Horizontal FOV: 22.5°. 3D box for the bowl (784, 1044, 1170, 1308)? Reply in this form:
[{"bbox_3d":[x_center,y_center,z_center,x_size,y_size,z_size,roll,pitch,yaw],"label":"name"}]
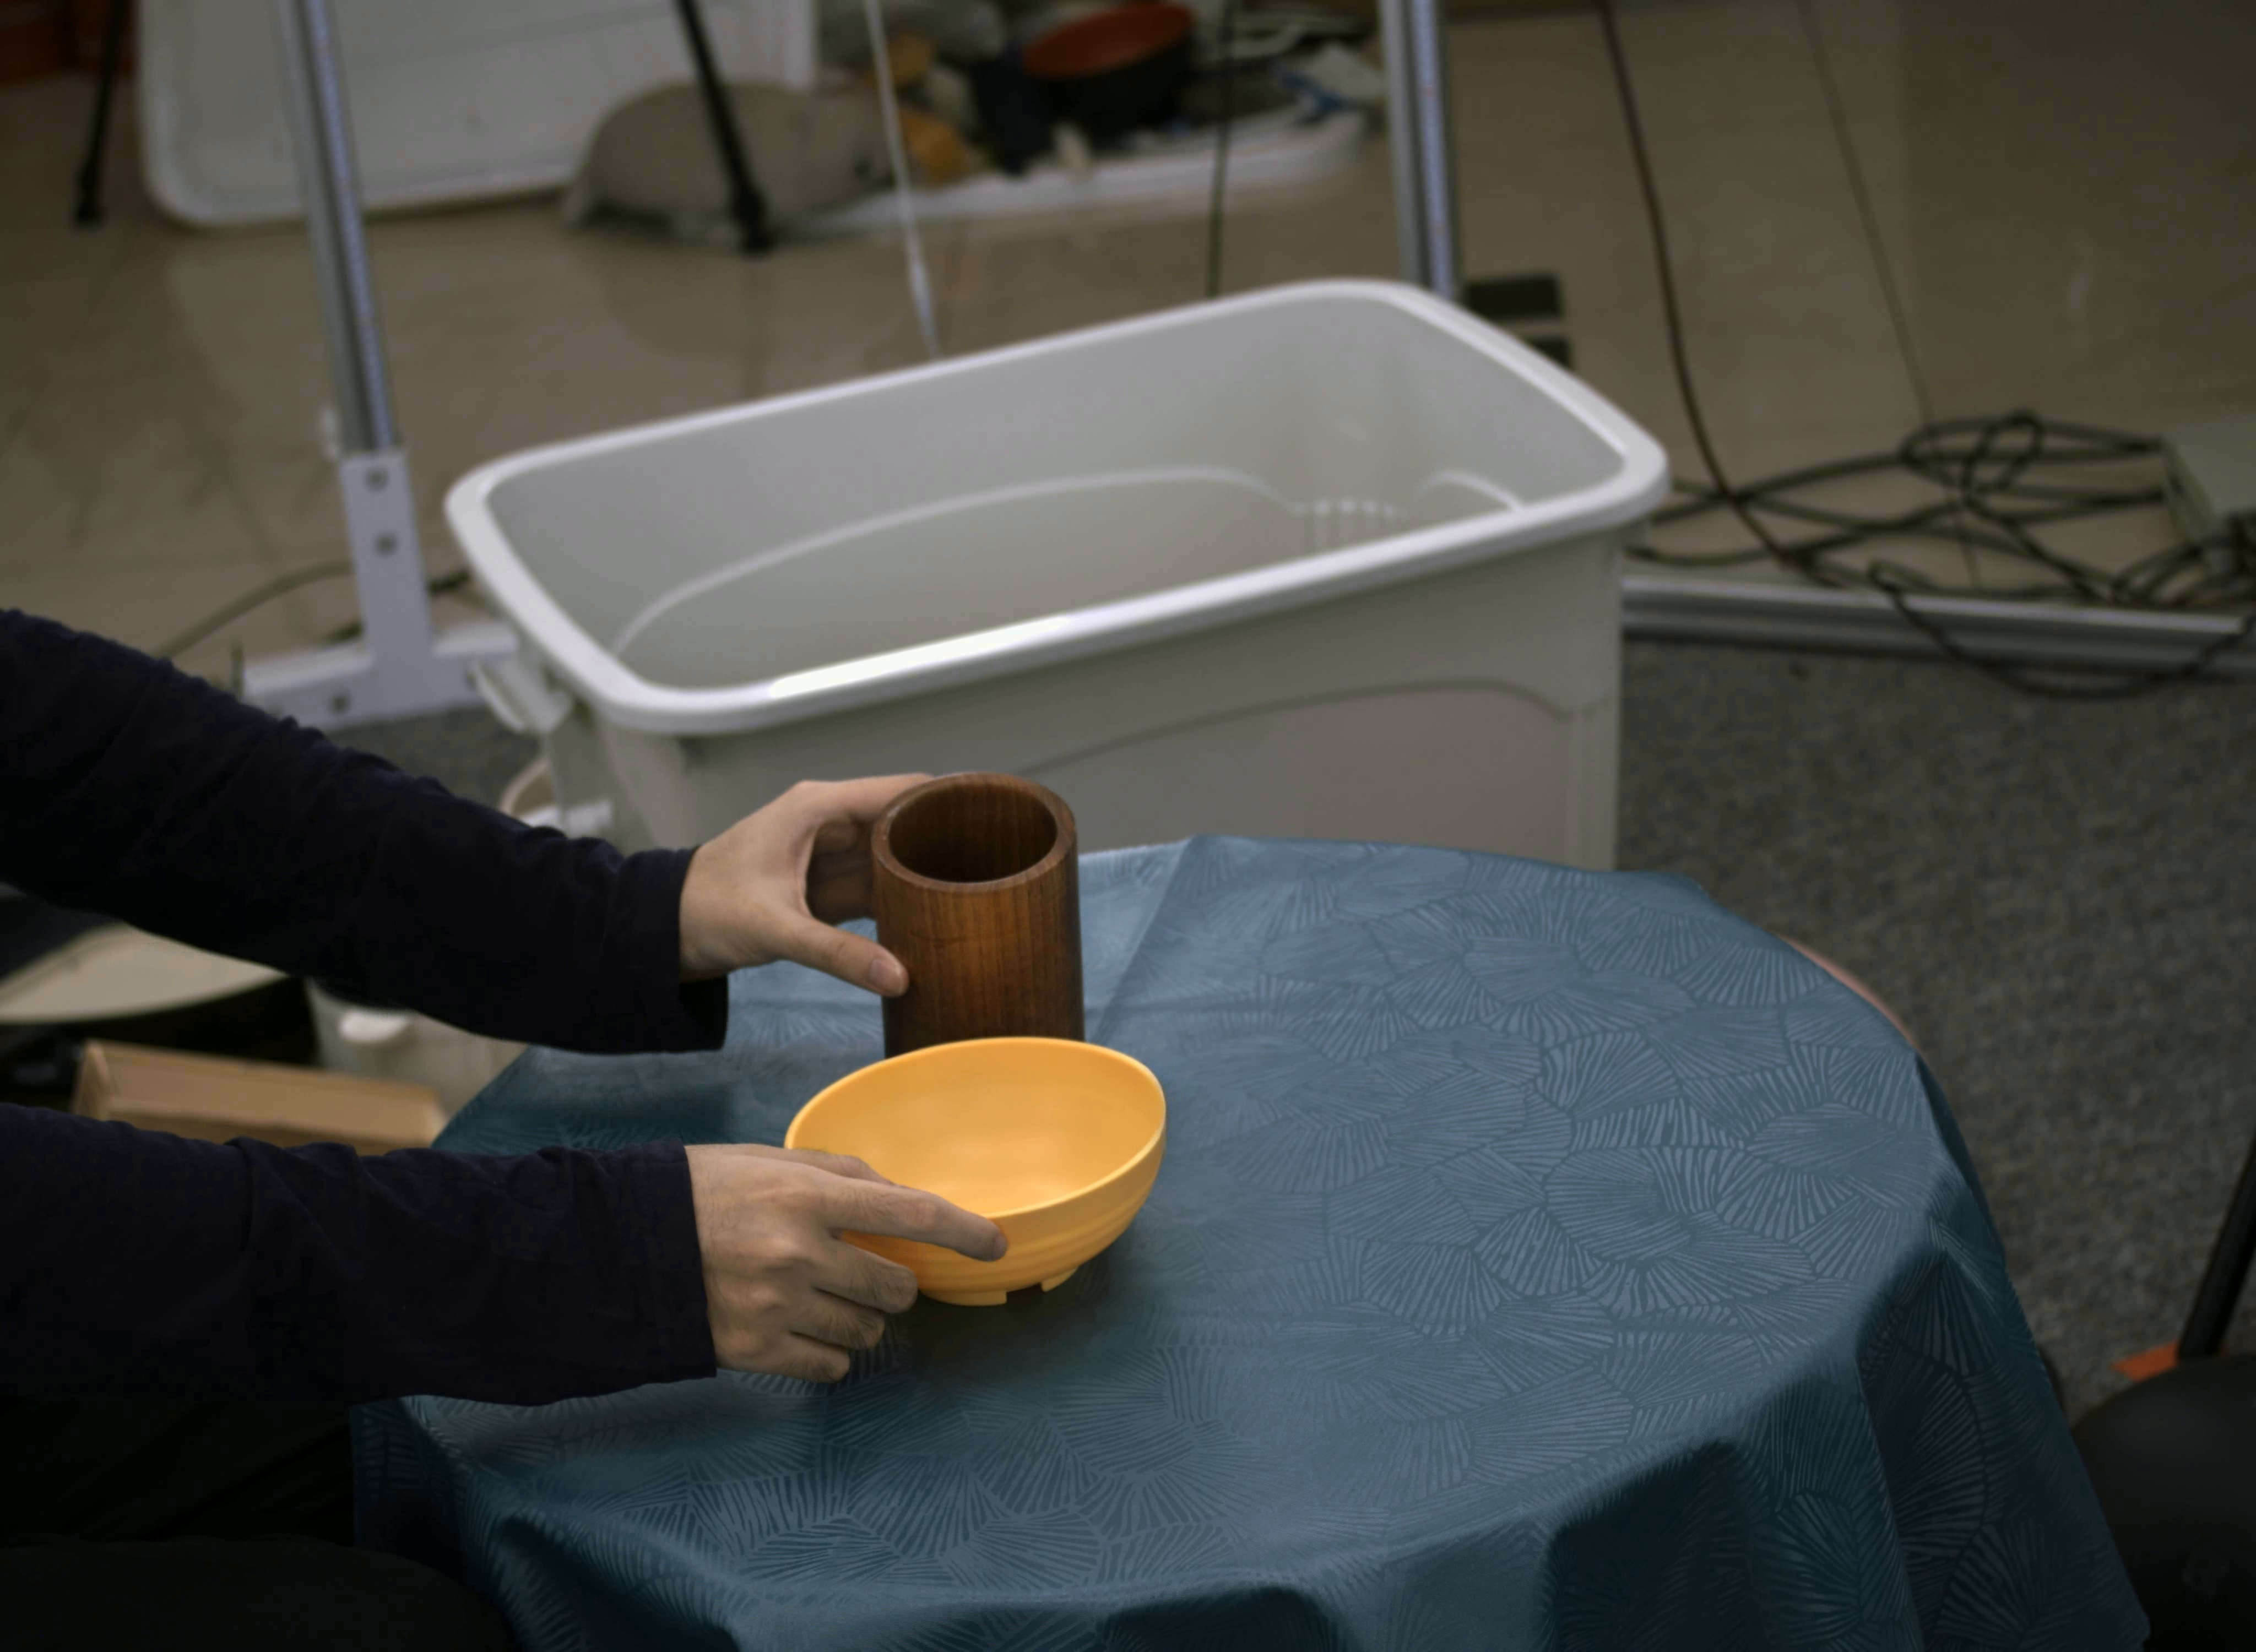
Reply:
[{"bbox_3d":[-0.052,0.137,2.095,0.145,0.061,0.143,-6,24,3],"label":"bowl"}]

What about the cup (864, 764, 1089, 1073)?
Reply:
[{"bbox_3d":[-0.057,0.046,2.198,0.087,0.120,0.086,-2,35,2],"label":"cup"}]
